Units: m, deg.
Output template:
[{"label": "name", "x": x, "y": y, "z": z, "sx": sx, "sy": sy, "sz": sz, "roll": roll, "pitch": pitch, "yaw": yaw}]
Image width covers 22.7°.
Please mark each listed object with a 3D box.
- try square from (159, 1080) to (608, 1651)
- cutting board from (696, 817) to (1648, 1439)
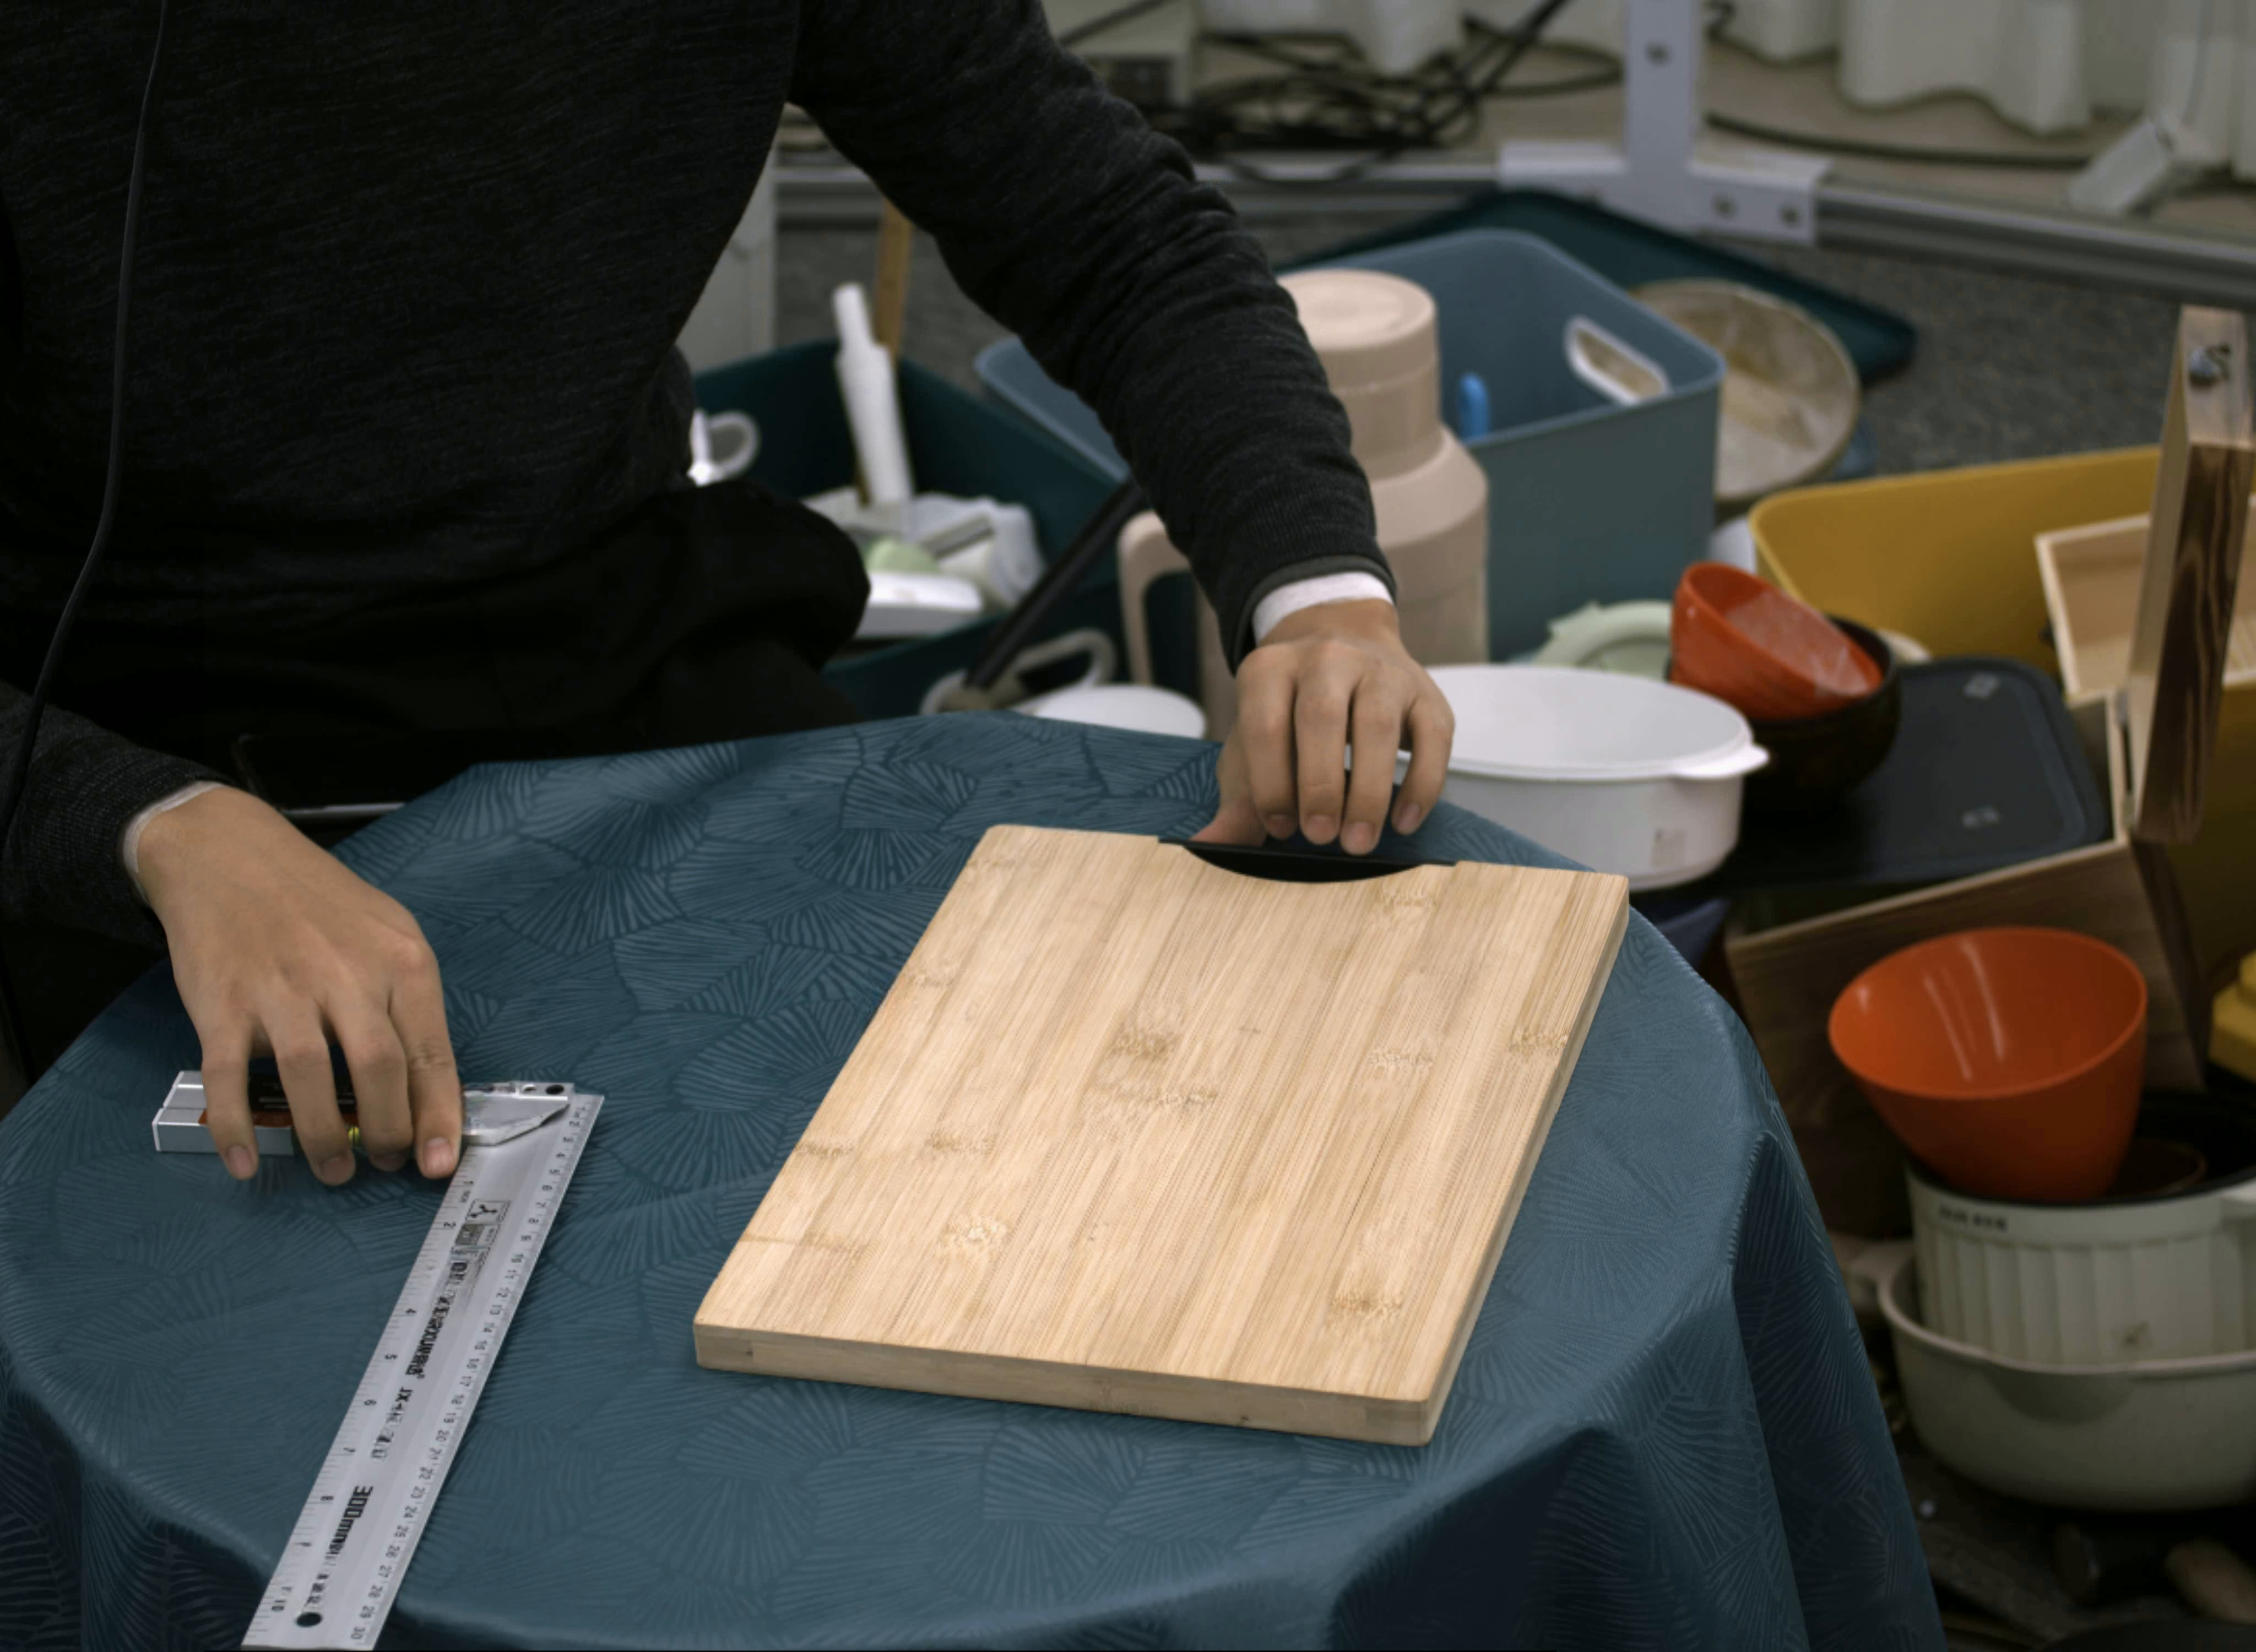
[{"label": "try square", "x": -0.273, "y": 0.168, "z": 1.796, "sx": 0.151, "sy": 0.016, "sz": 0.318, "roll": -1, "pitch": 28, "yaw": 10}, {"label": "cutting board", "x": 0.023, "y": 0.093, "z": 1.896, "sx": 0.249, "sy": 0.023, "sz": 0.355, "roll": 4, "pitch": 28, "yaw": 14}]
